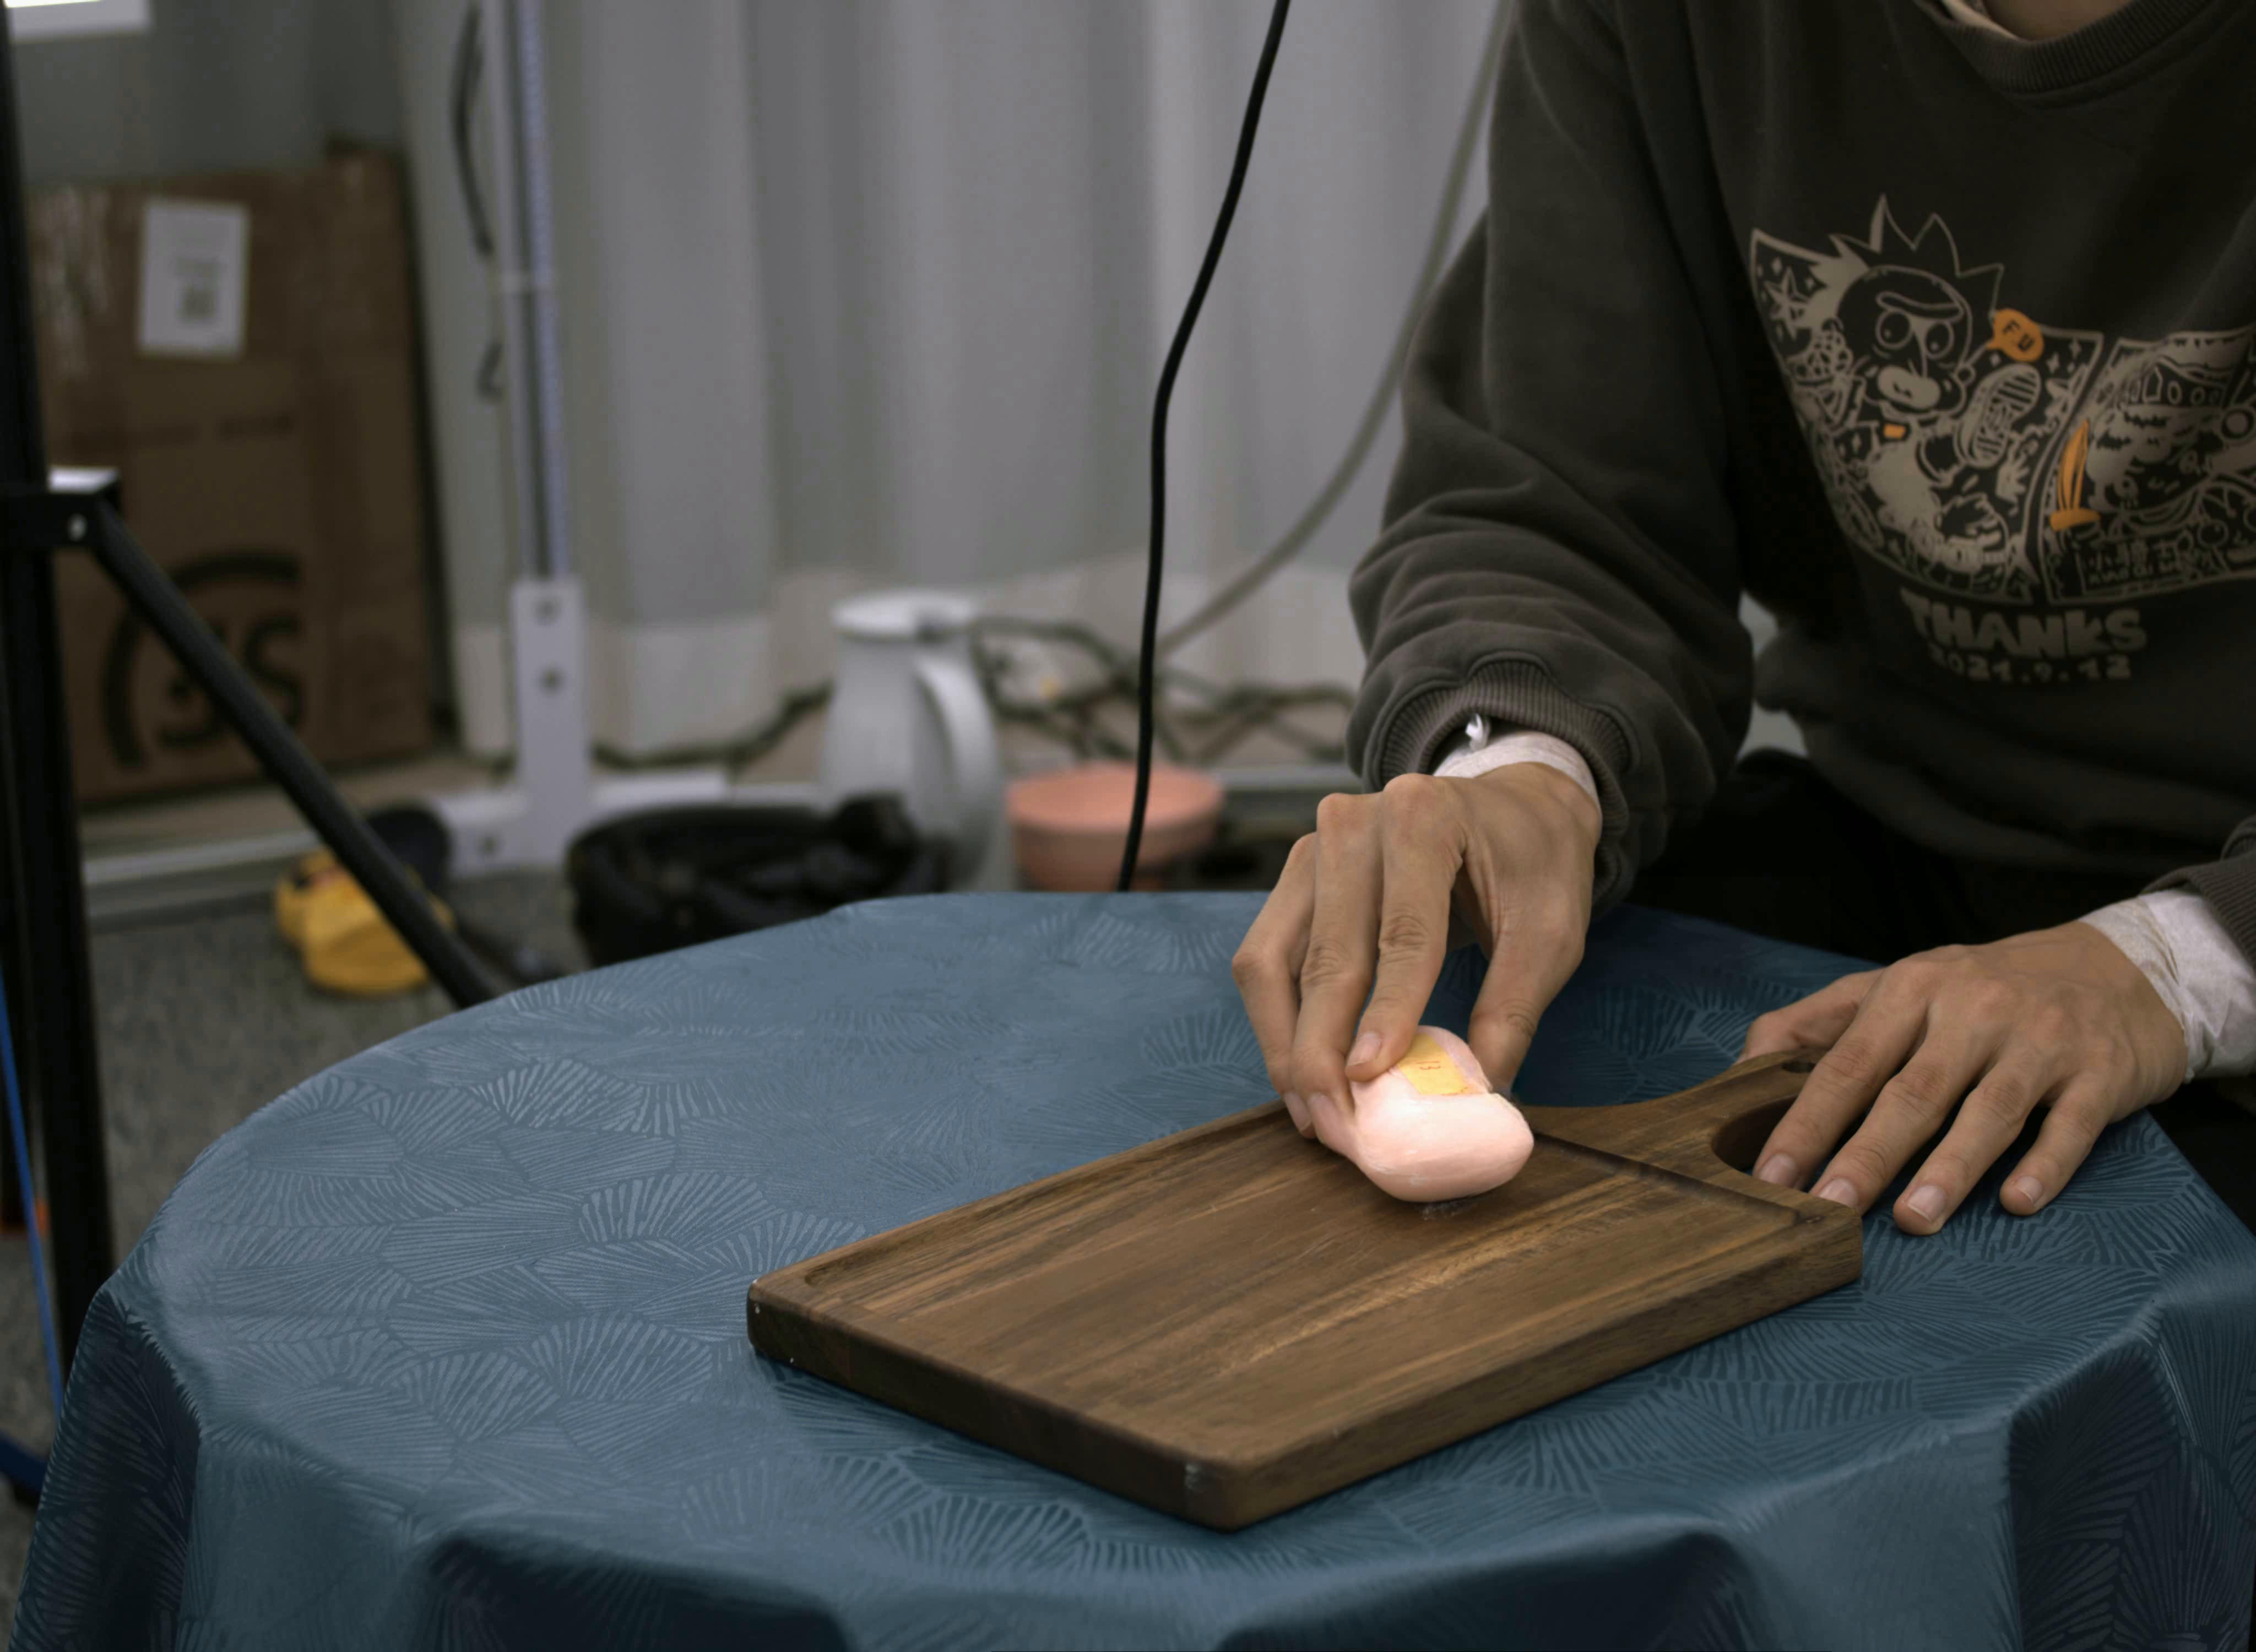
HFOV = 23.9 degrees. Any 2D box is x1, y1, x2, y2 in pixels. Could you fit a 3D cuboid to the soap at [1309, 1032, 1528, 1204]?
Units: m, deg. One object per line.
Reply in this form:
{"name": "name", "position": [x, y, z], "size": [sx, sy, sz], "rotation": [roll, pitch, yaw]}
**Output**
{"name": "soap", "position": [0.083, 0.084, 1.525], "size": [0.050, 0.030, 0.095], "rotation": [-5, 16, -8]}

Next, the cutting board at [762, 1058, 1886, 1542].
{"name": "cutting board", "position": [0.092, 0.117, 1.477], "size": [0.344, 0.023, 0.206], "rotation": [-15, 20, -38]}
